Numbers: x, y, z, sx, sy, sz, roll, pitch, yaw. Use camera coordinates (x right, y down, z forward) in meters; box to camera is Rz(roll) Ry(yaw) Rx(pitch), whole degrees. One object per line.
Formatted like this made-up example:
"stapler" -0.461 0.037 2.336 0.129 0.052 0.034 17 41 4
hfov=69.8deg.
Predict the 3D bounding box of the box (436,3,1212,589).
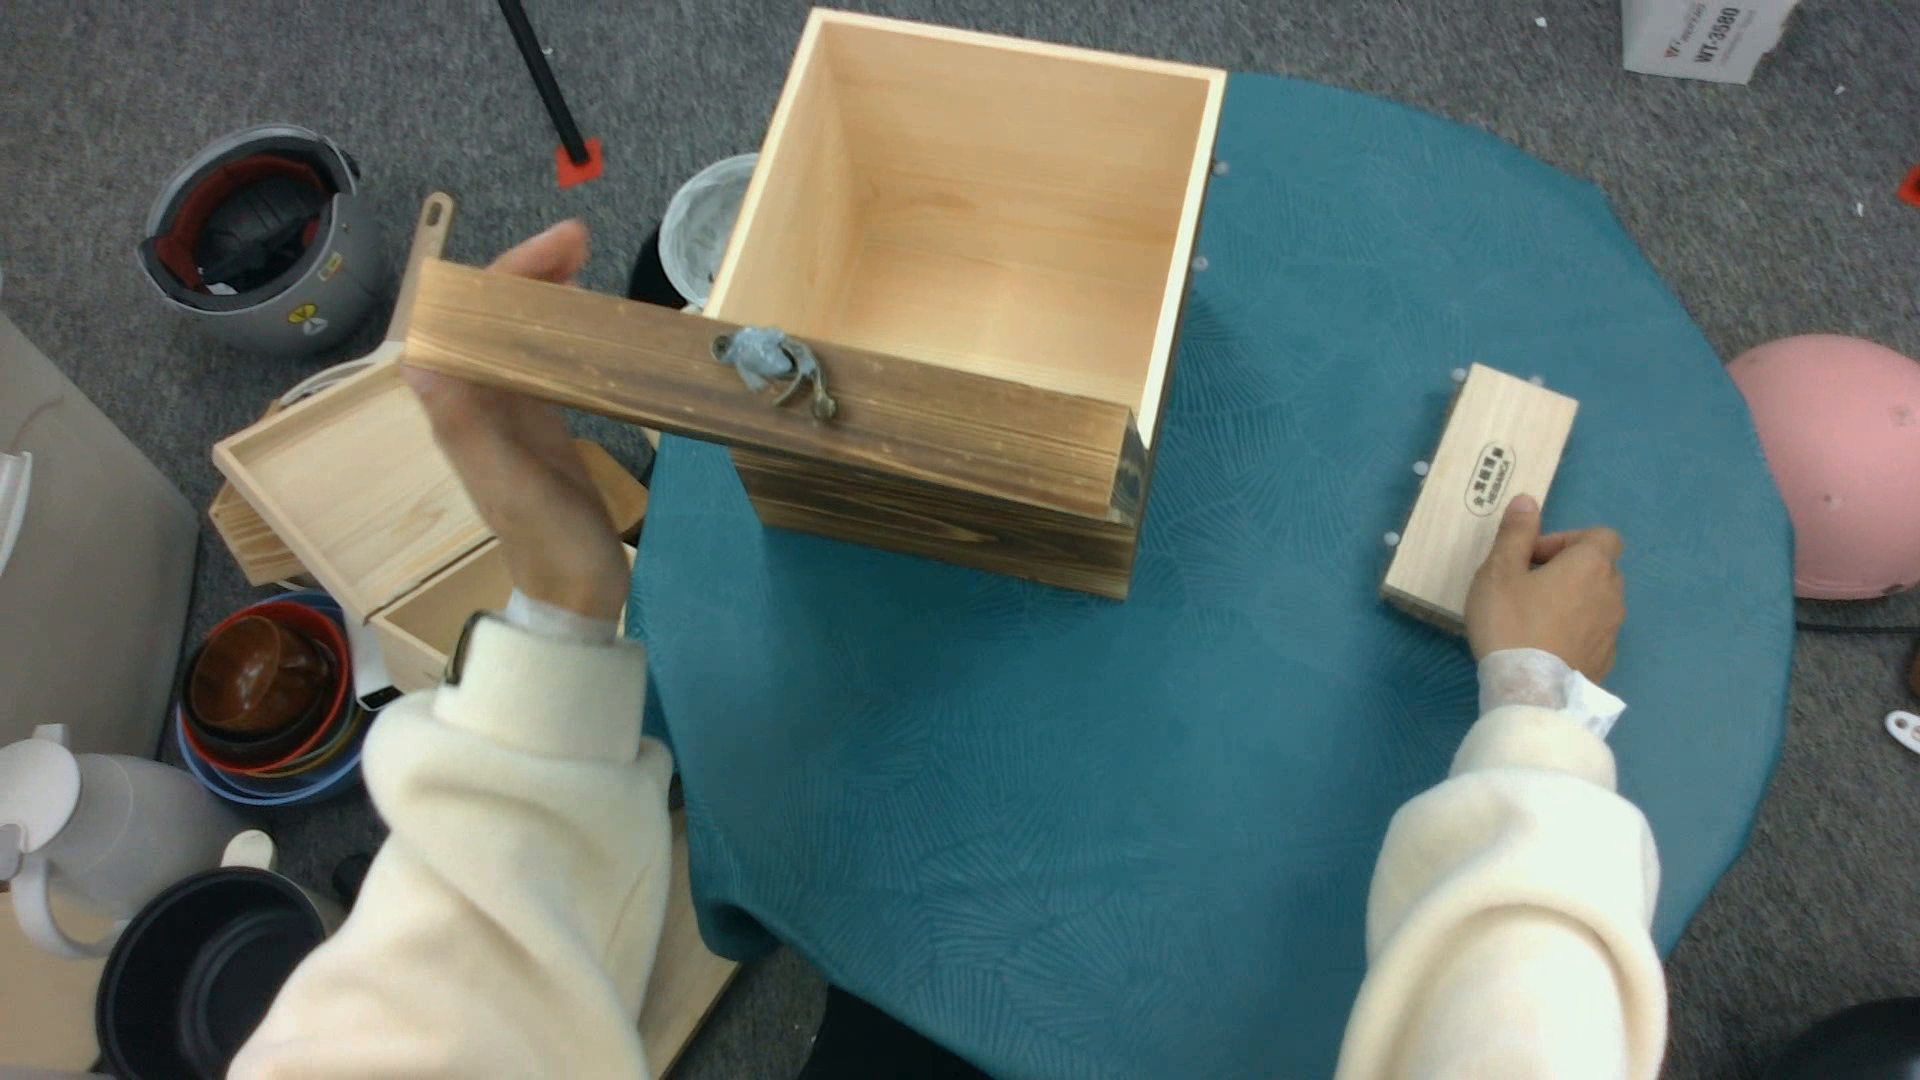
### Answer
"box" -0.012 -0.111 0.579 0.208 0.374 0.323 11 66 7

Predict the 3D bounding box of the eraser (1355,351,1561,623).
"eraser" 0.256 -0.028 0.712 0.057 0.029 0.140 28 70 11
